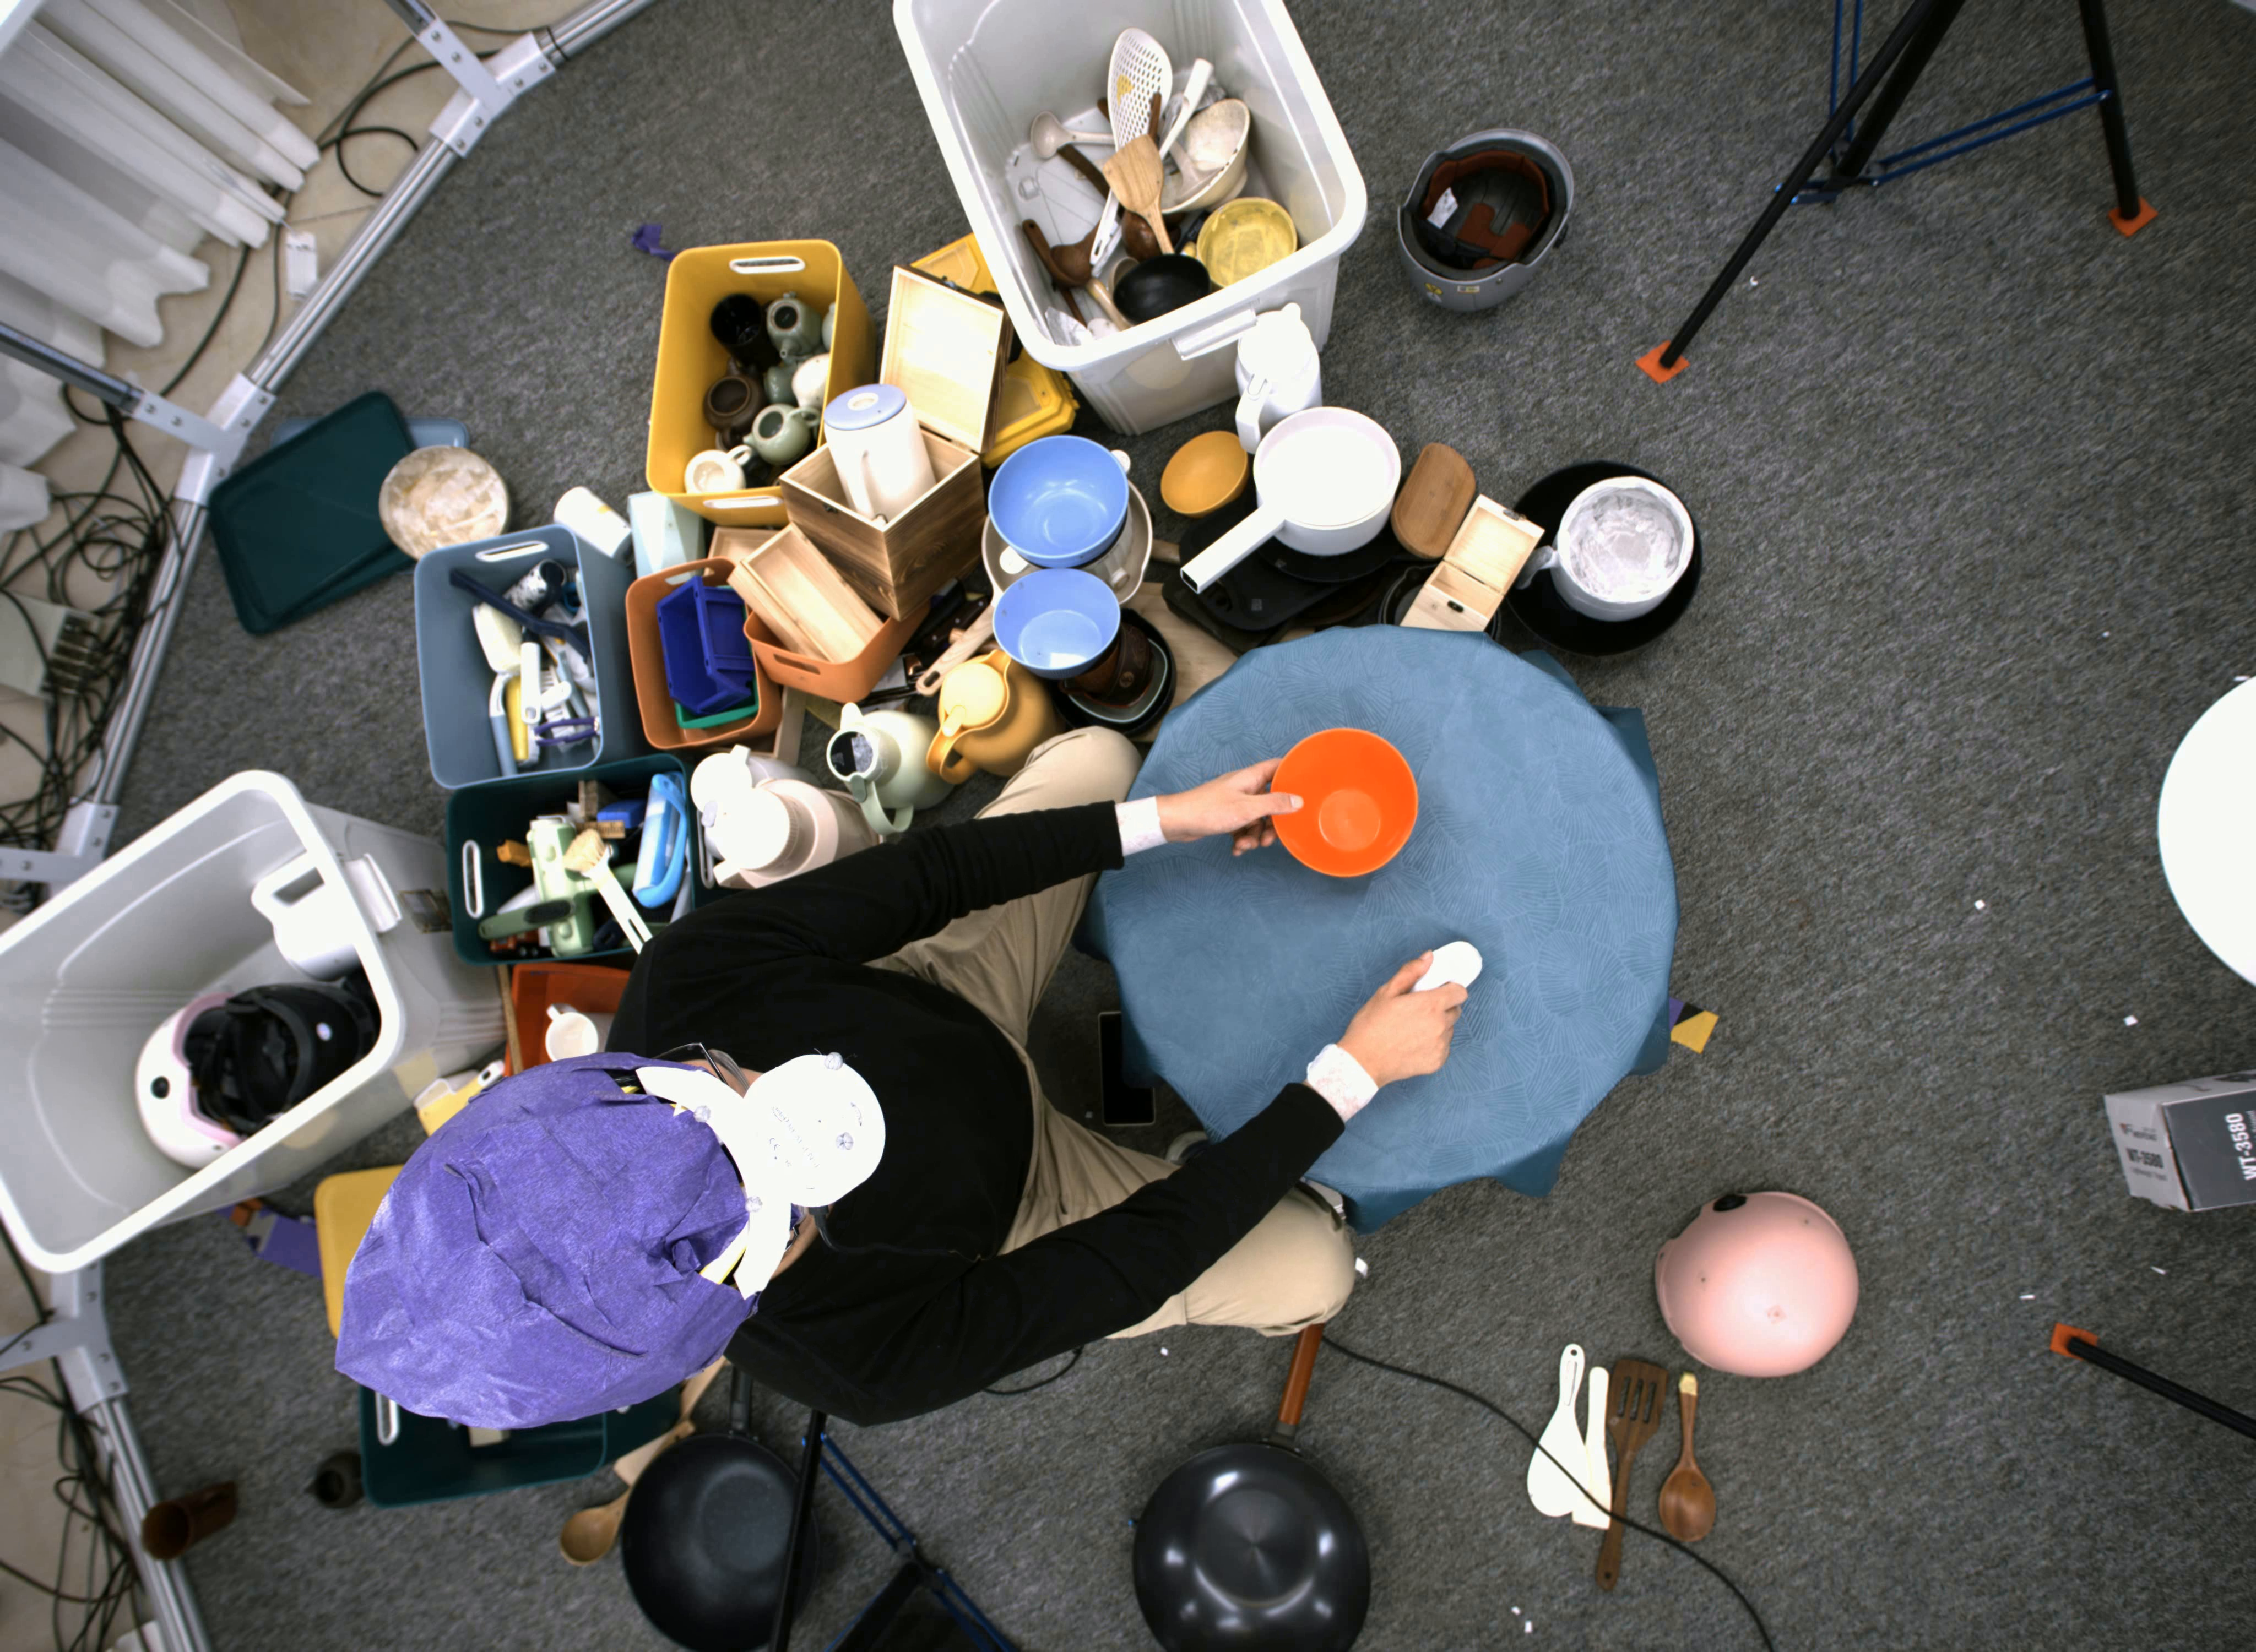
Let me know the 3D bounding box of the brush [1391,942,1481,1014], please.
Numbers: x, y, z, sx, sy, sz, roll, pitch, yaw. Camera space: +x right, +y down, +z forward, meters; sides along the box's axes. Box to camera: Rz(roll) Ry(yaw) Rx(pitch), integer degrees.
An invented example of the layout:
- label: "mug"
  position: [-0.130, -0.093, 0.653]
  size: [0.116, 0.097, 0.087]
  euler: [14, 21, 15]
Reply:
- label: "brush"
  position: [0.315, 0.154, 1.410]
  size: [0.100, 0.072, 0.050]
  euler: [-32, 81, 7]

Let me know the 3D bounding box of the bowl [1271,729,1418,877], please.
- label: "bowl"
  position: [0.224, -0.021, 1.424]
  size: [0.148, 0.104, 0.147]
  euler: [-1, 87, 10]
